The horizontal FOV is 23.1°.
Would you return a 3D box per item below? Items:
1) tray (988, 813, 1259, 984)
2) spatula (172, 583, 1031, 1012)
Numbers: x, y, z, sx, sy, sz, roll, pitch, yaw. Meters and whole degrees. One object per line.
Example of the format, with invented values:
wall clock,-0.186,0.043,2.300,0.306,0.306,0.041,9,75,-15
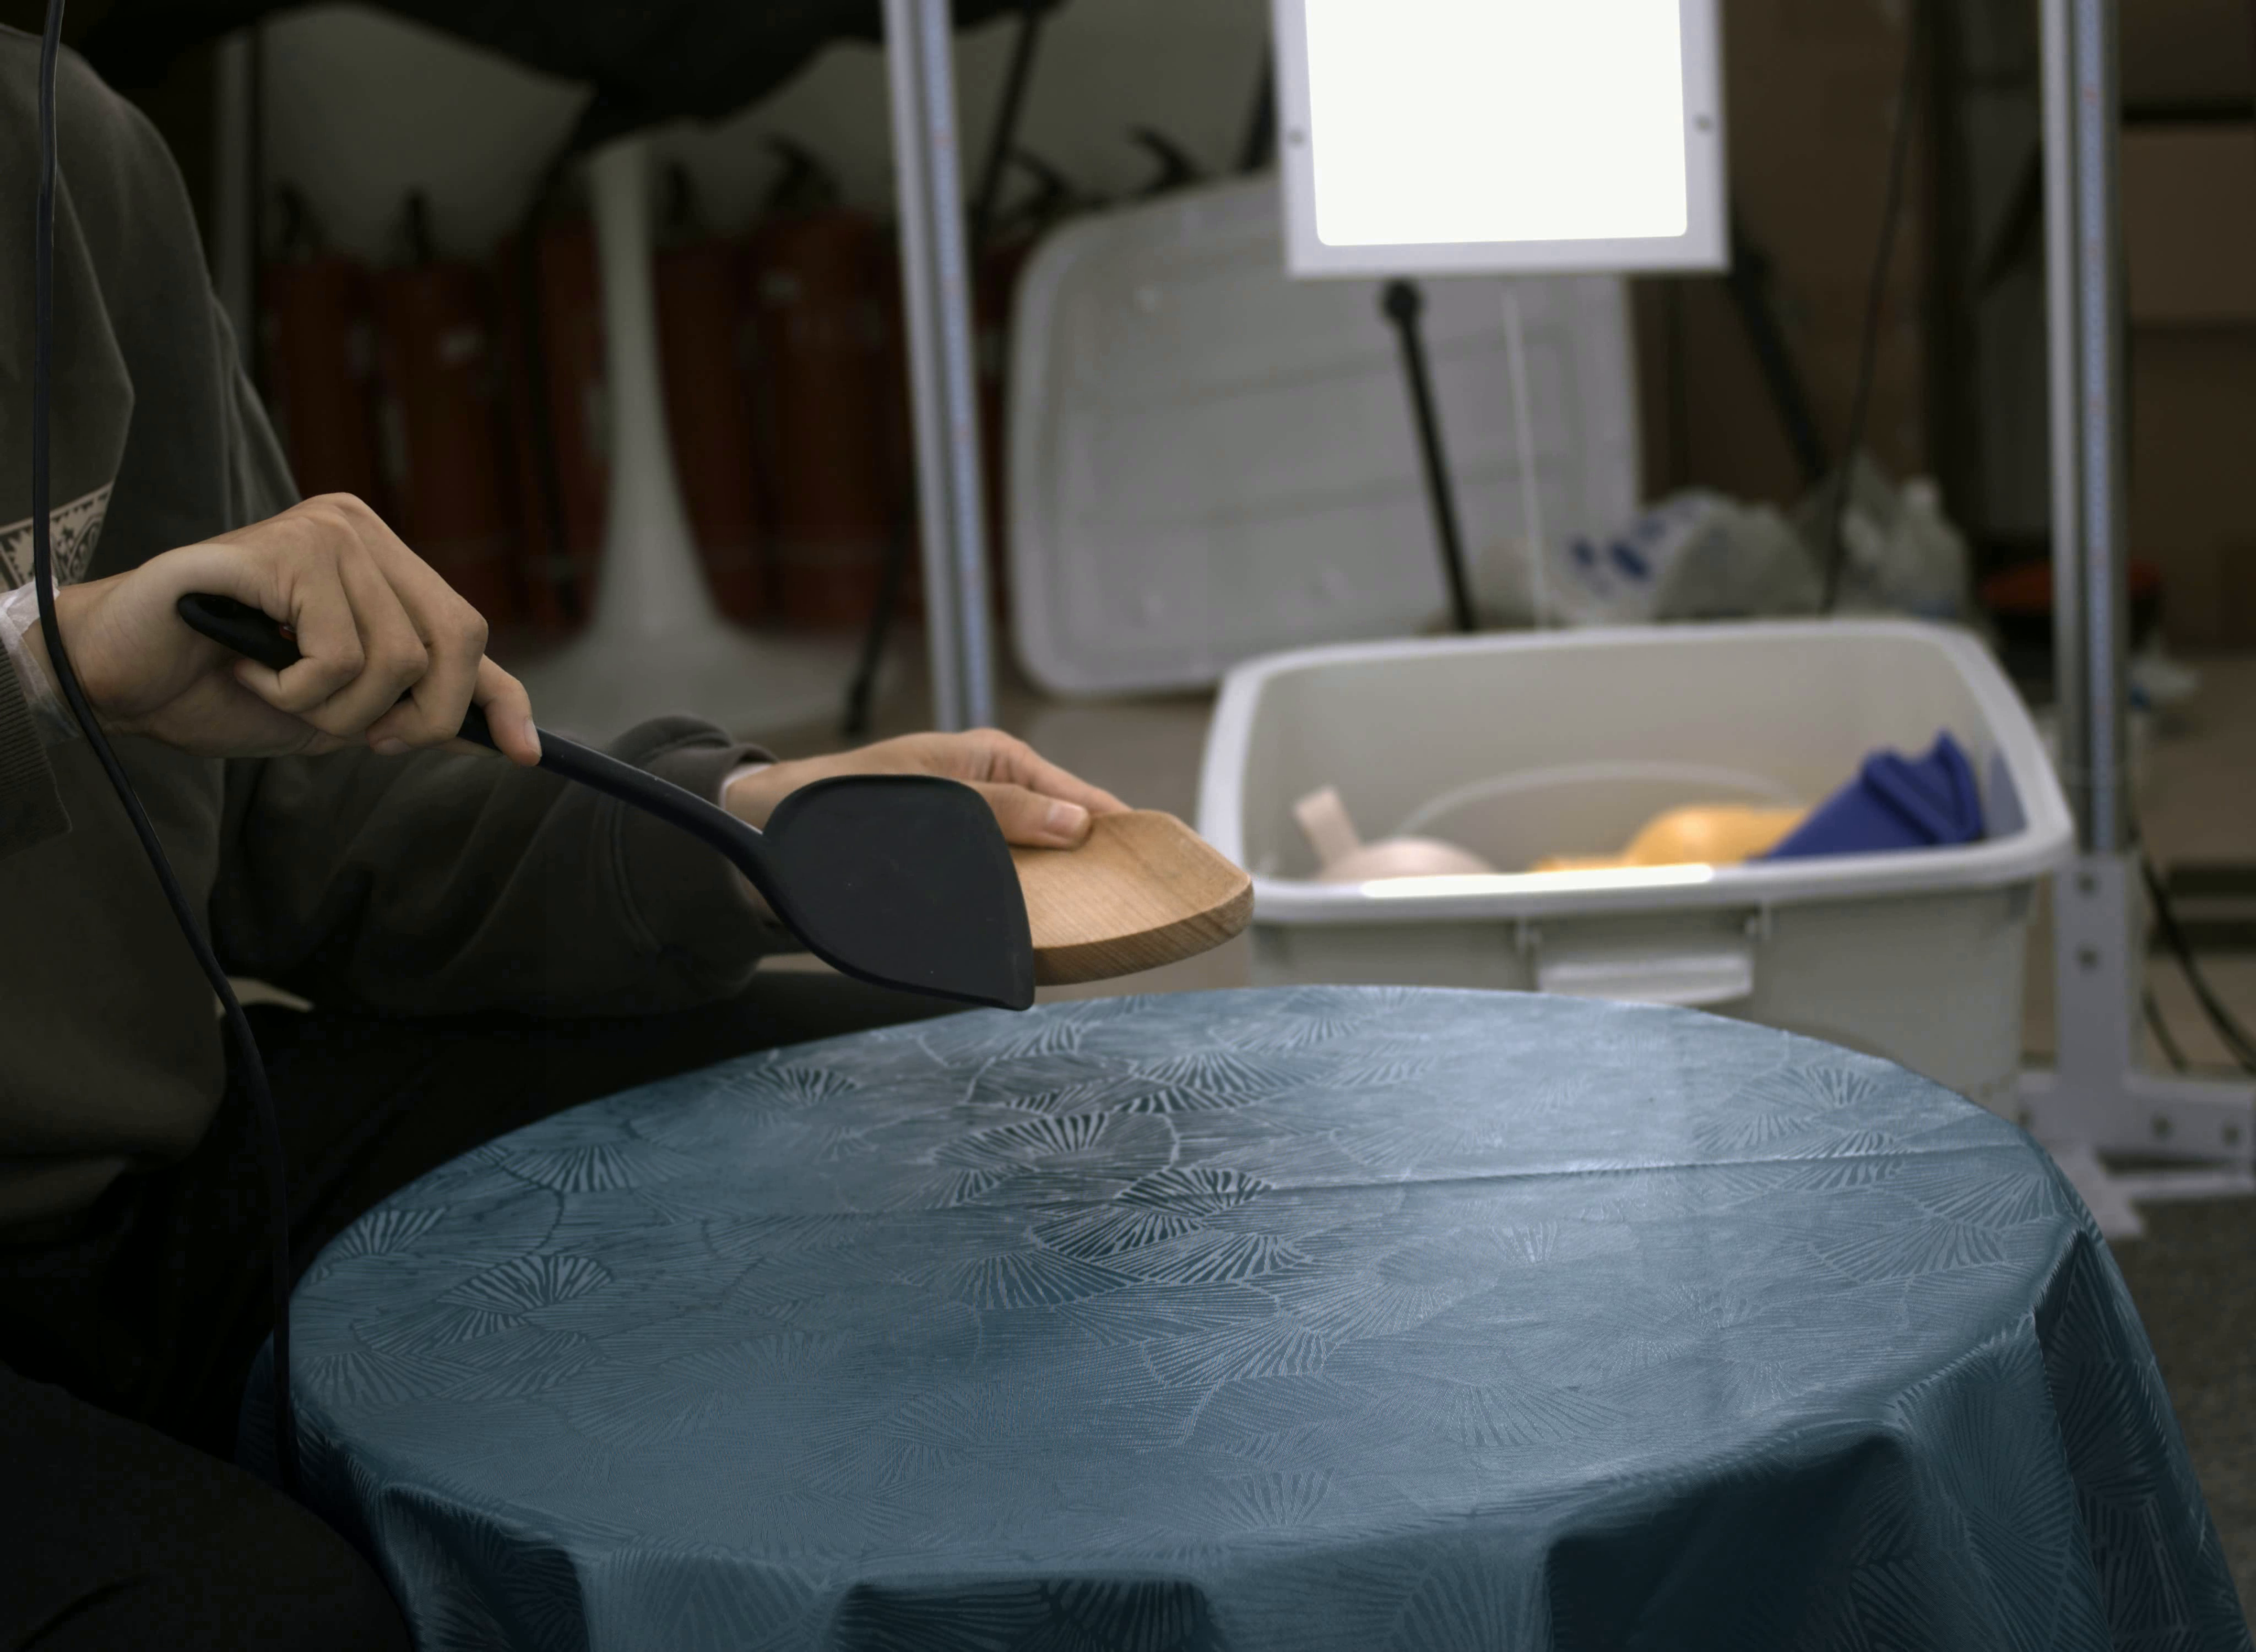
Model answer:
tray,-0.017,0.024,1.919,0.101,0.020,0.232,-14,12,-8
spatula,-0.161,-0.020,1.733,0.319,0.041,0.100,27,35,-38
